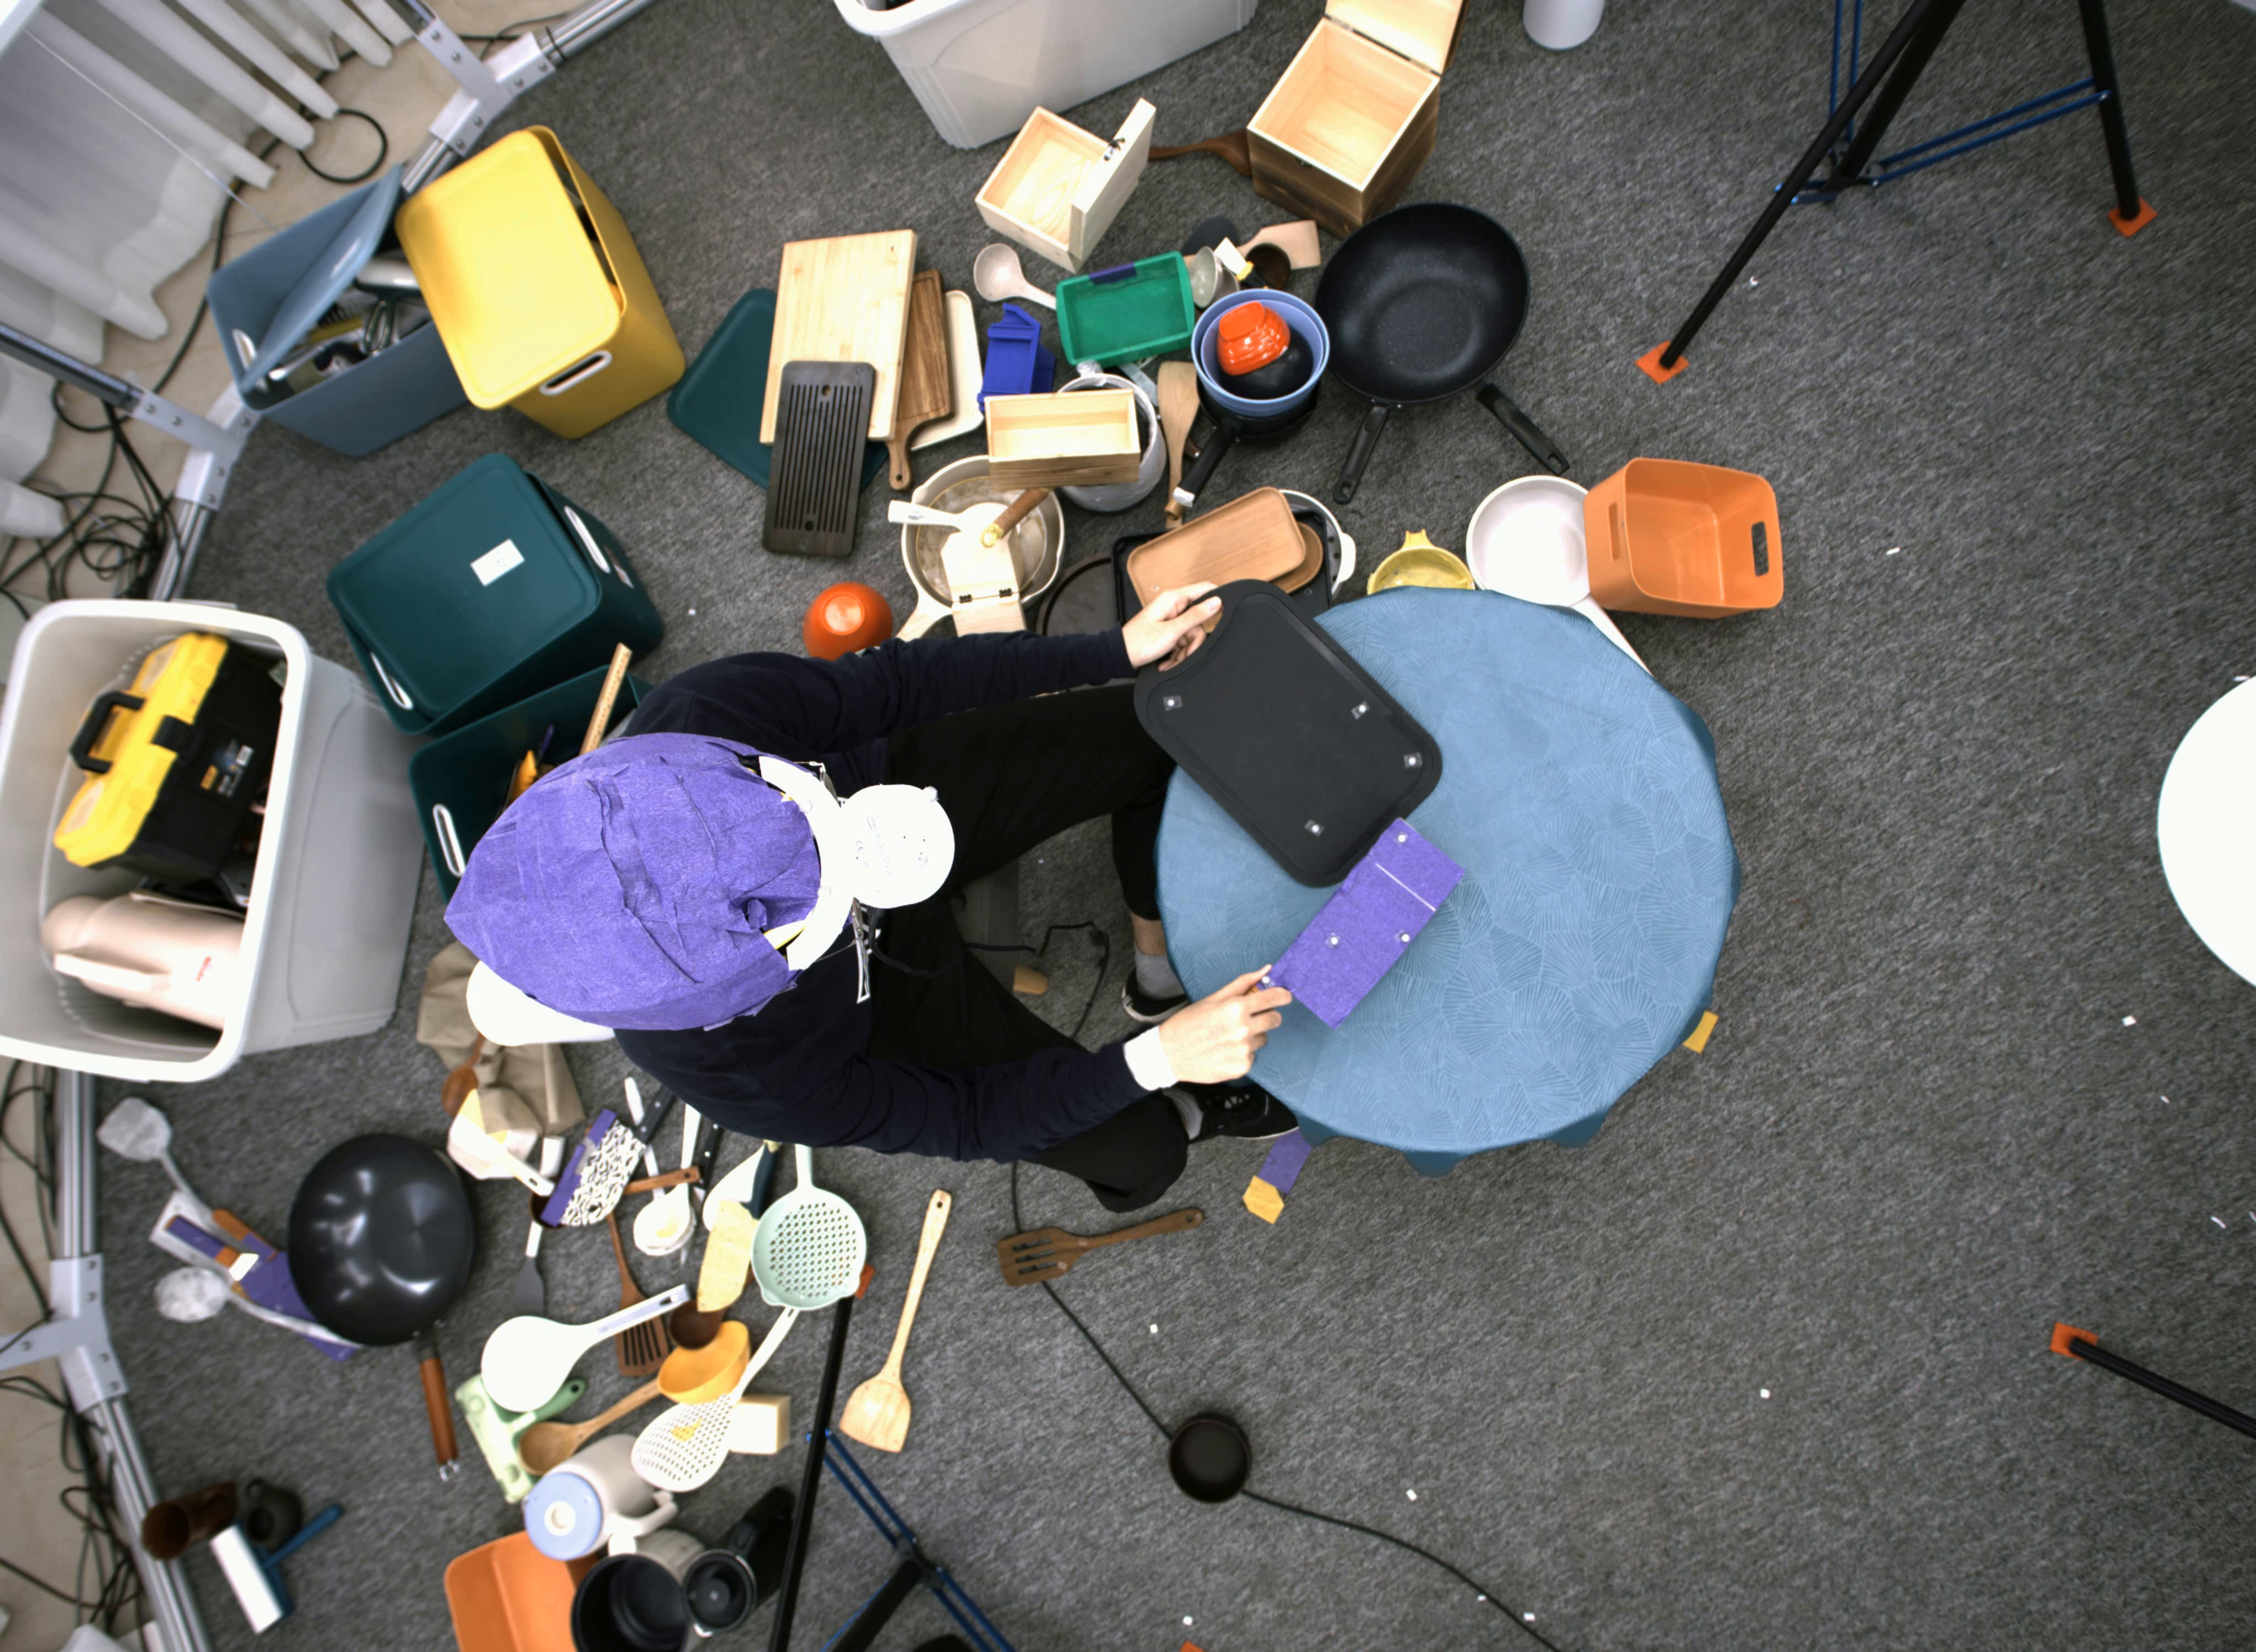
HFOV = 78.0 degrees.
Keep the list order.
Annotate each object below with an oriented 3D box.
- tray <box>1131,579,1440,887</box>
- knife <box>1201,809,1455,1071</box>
[{"bbox_3d":[0.160,-0.104,1.459,0.212,0.010,0.325,-44,90,6],"label":"tray"},{"bbox_3d":[0.204,0.132,1.378,0.104,0.032,0.315,39,91,1],"label":"knife"}]
